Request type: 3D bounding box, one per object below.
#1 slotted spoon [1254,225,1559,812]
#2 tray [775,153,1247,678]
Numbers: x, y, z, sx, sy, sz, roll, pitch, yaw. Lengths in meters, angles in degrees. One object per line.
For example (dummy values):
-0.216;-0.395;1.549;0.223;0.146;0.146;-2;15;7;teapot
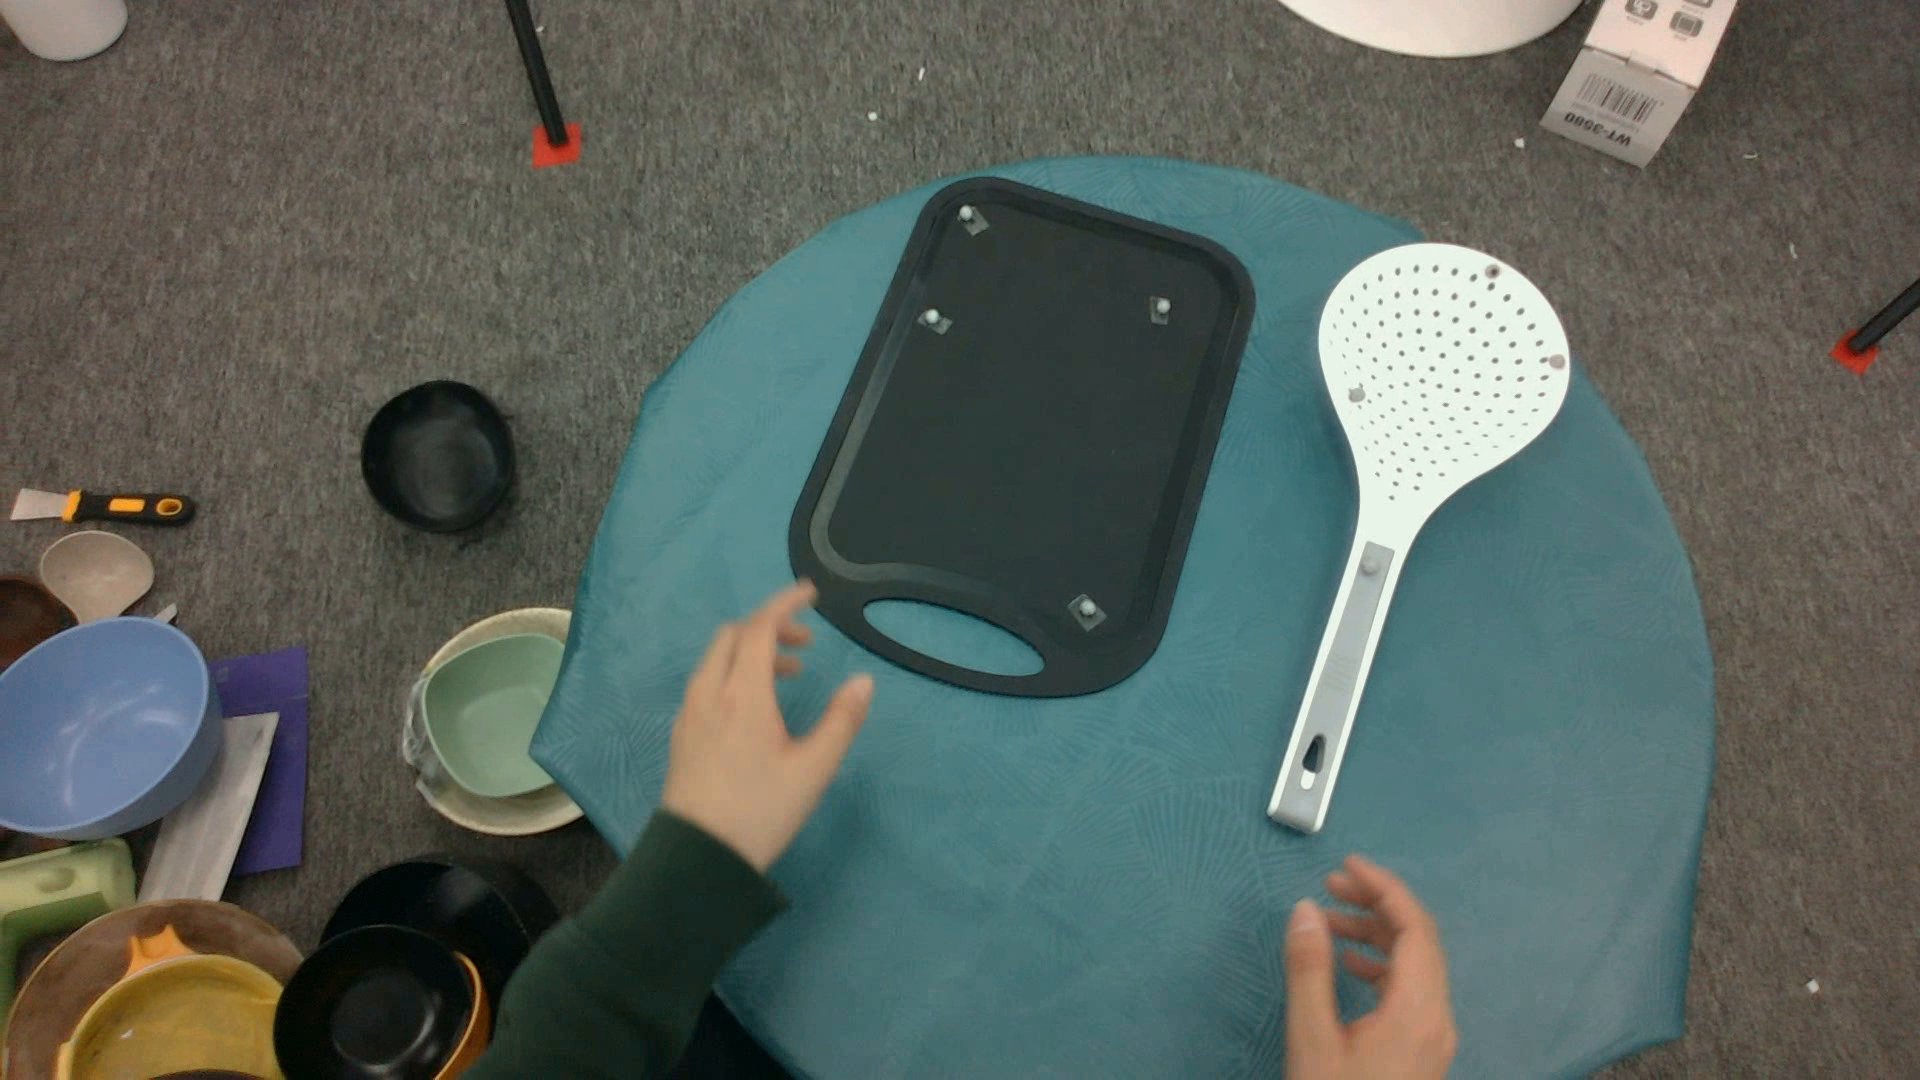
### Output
0.224;-0.021;0.737;0.136;0.045;0.351;21;66;8;slotted spoon
0.033;-0.078;0.772;0.211;0.010;0.326;18;66;5;tray
